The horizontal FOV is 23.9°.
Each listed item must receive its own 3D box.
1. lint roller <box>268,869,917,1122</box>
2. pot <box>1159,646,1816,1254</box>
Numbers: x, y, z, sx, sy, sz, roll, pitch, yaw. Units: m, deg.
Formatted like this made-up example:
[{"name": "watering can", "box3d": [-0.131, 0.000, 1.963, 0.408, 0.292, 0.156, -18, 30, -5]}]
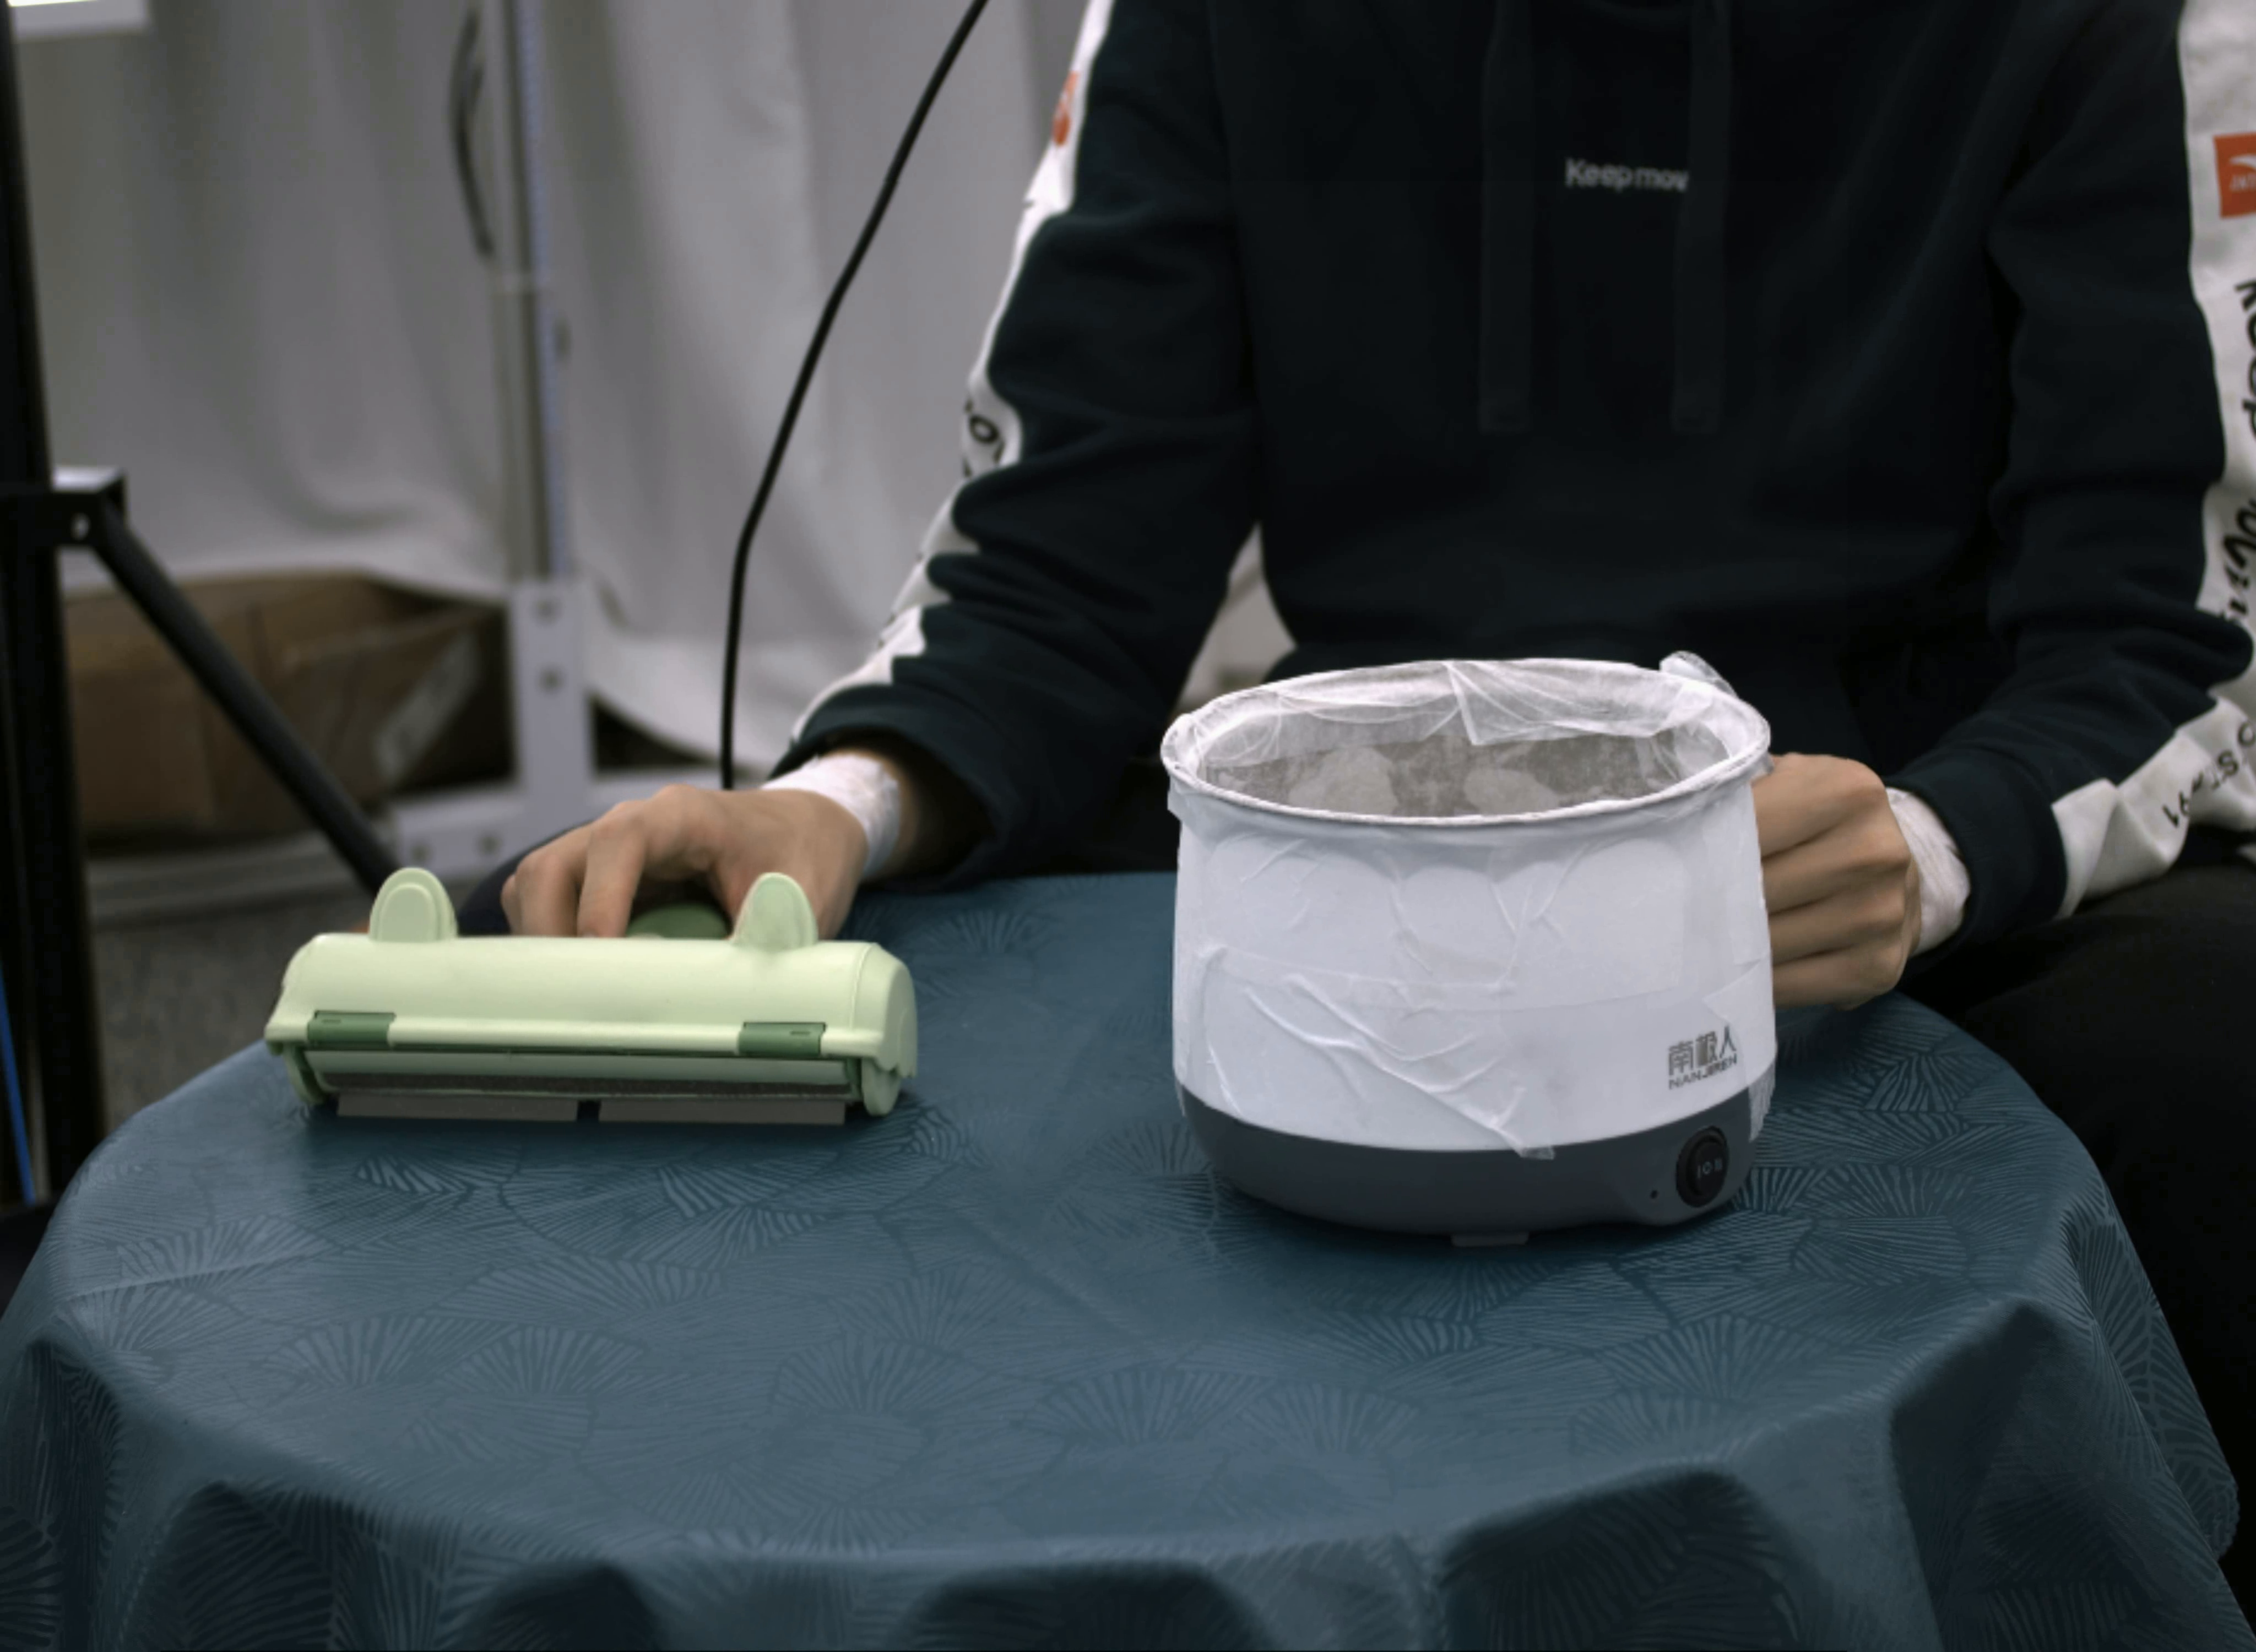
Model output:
[{"name": "lint roller", "box3d": [-0.156, 0.036, 1.702, 0.199, 0.082, 0.183, 0, 21, 12]}, {"name": "pot", "box3d": [0.119, 0.029, 1.563, 0.228, 0.136, 0.183, -19, 23, -42]}]
